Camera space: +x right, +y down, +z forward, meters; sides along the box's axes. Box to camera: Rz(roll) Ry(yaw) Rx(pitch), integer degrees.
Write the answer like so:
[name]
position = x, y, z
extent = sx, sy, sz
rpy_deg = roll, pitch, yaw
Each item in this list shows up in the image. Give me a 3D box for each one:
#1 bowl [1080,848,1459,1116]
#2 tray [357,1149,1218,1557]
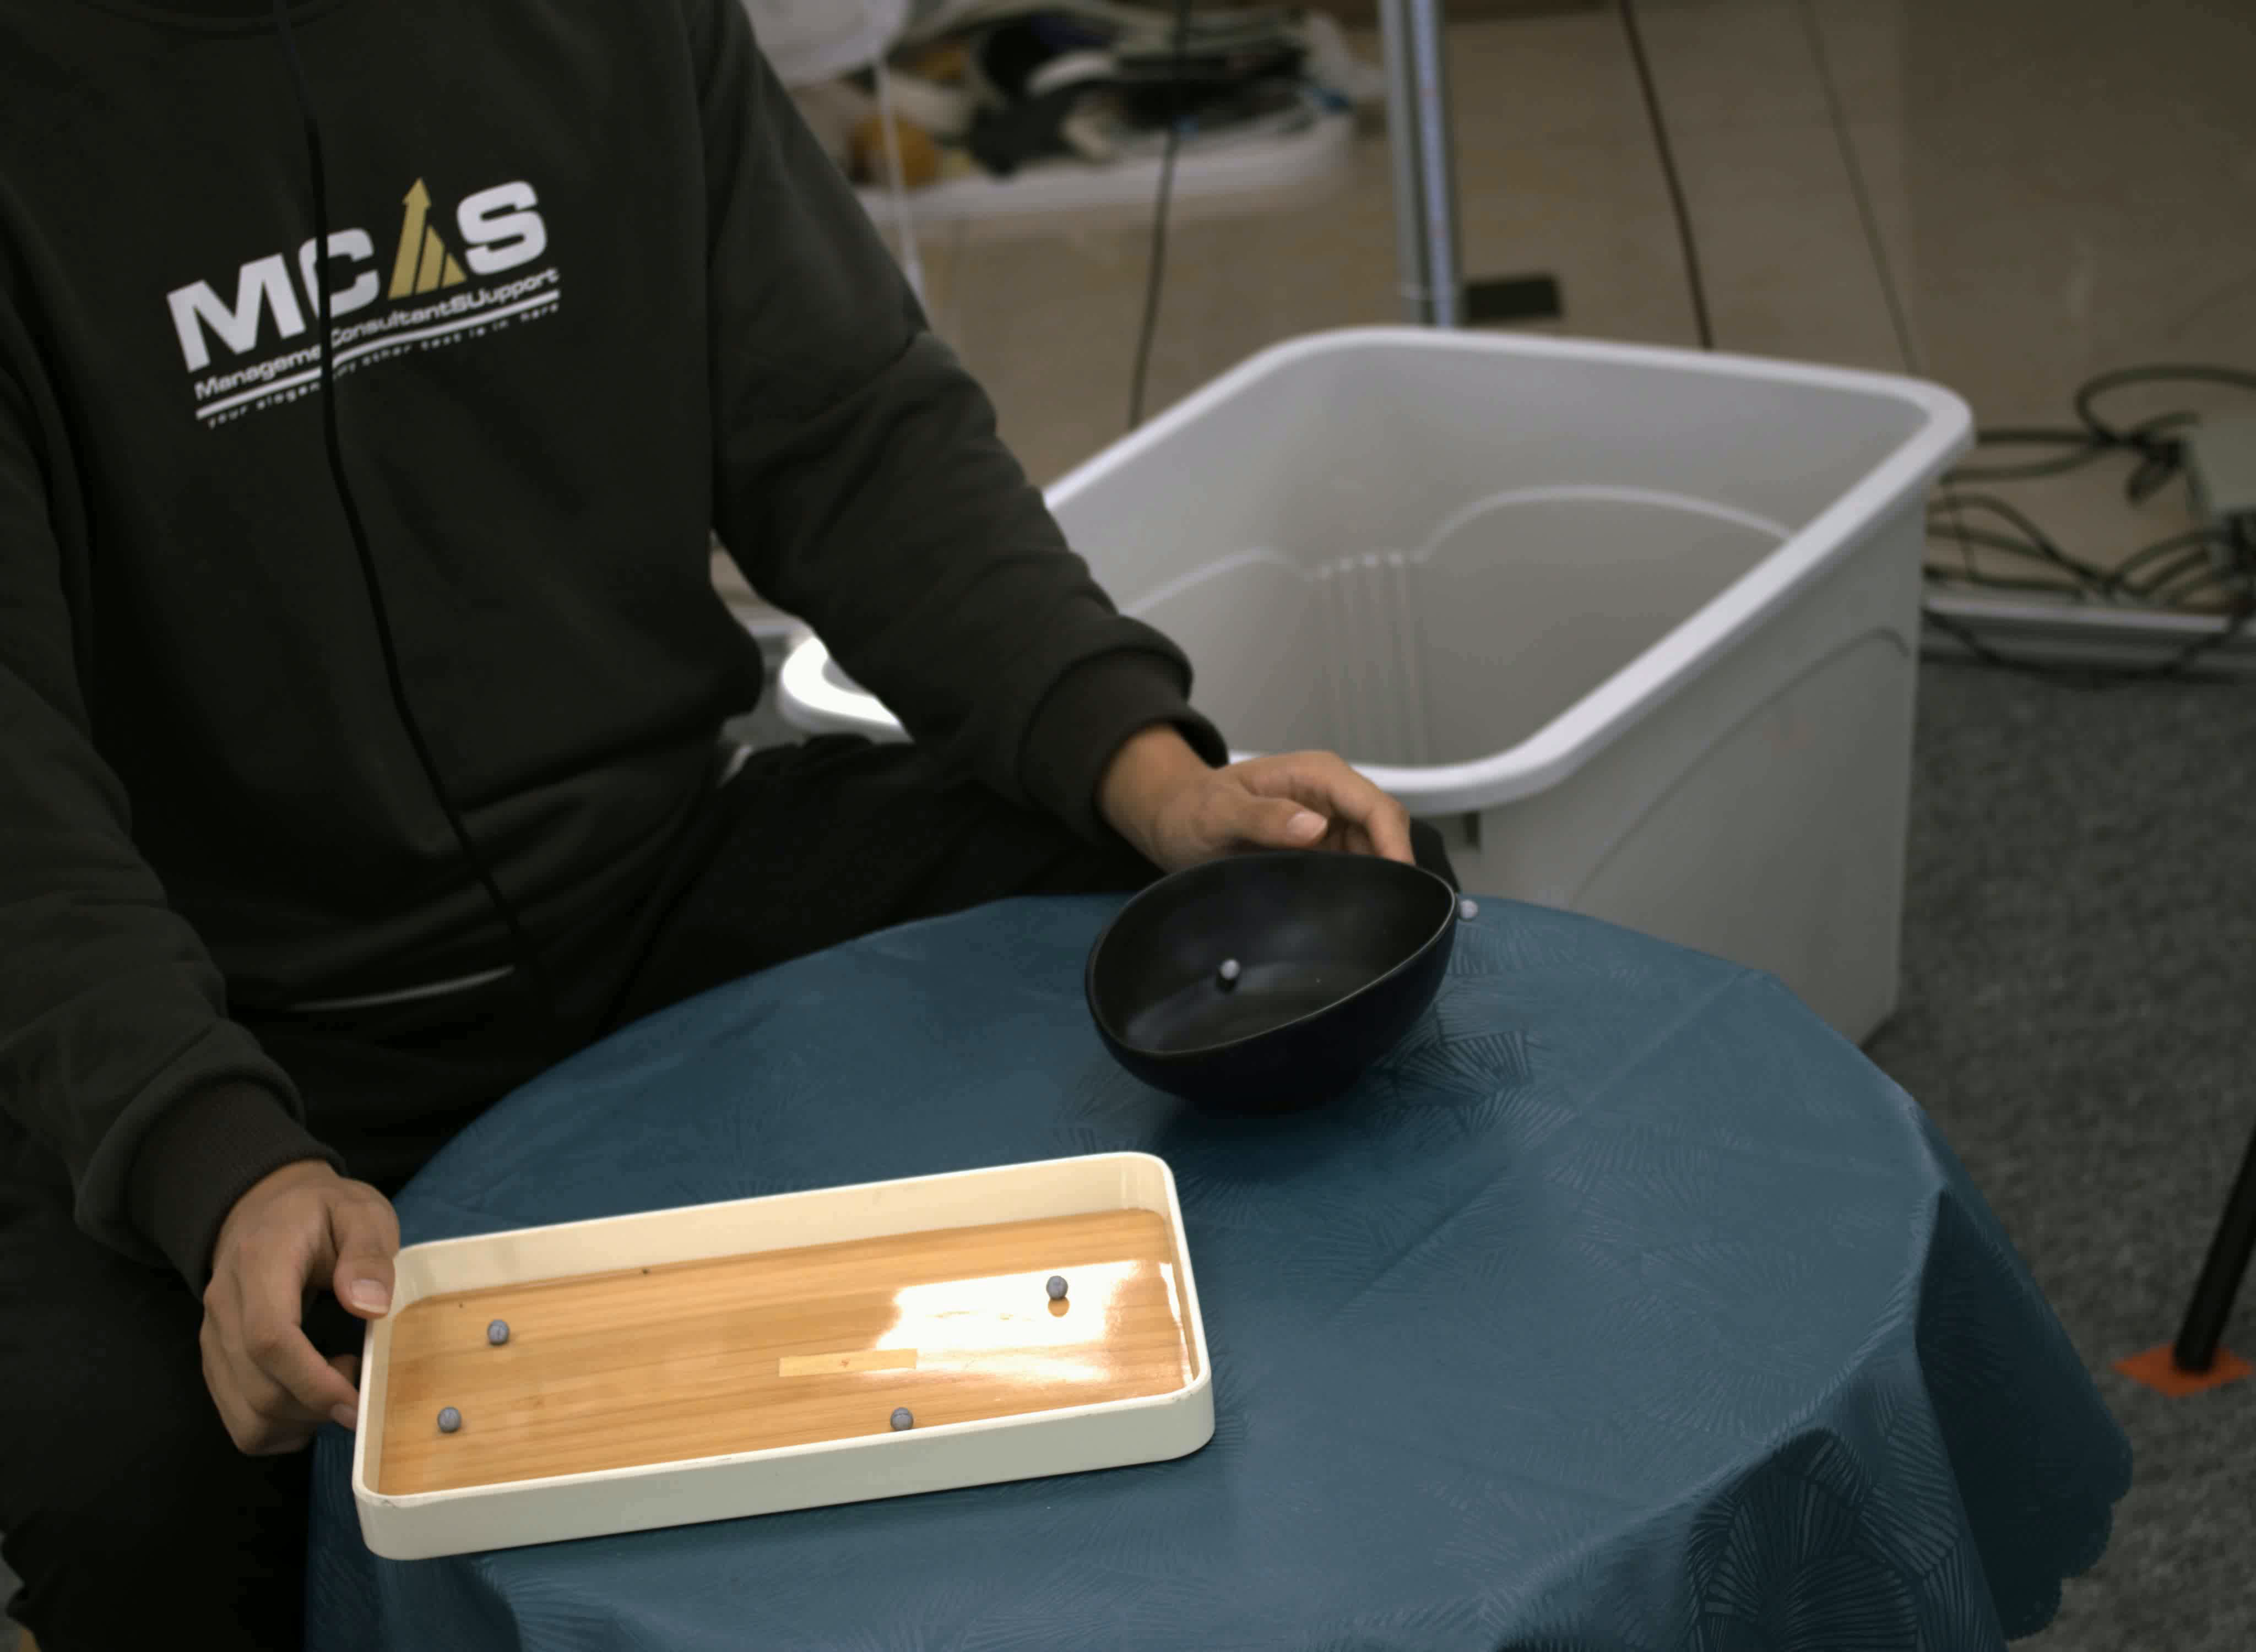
[bowl]
position = 0.058, 0.069, 2.211
extent = 0.136, 0.068, 0.168
rpy_deg = 10, 31, 34
[tray]
position = -0.124, 0.187, 2.040
extent = 0.300, 0.028, 0.189
rpy_deg = -7, 25, -2
